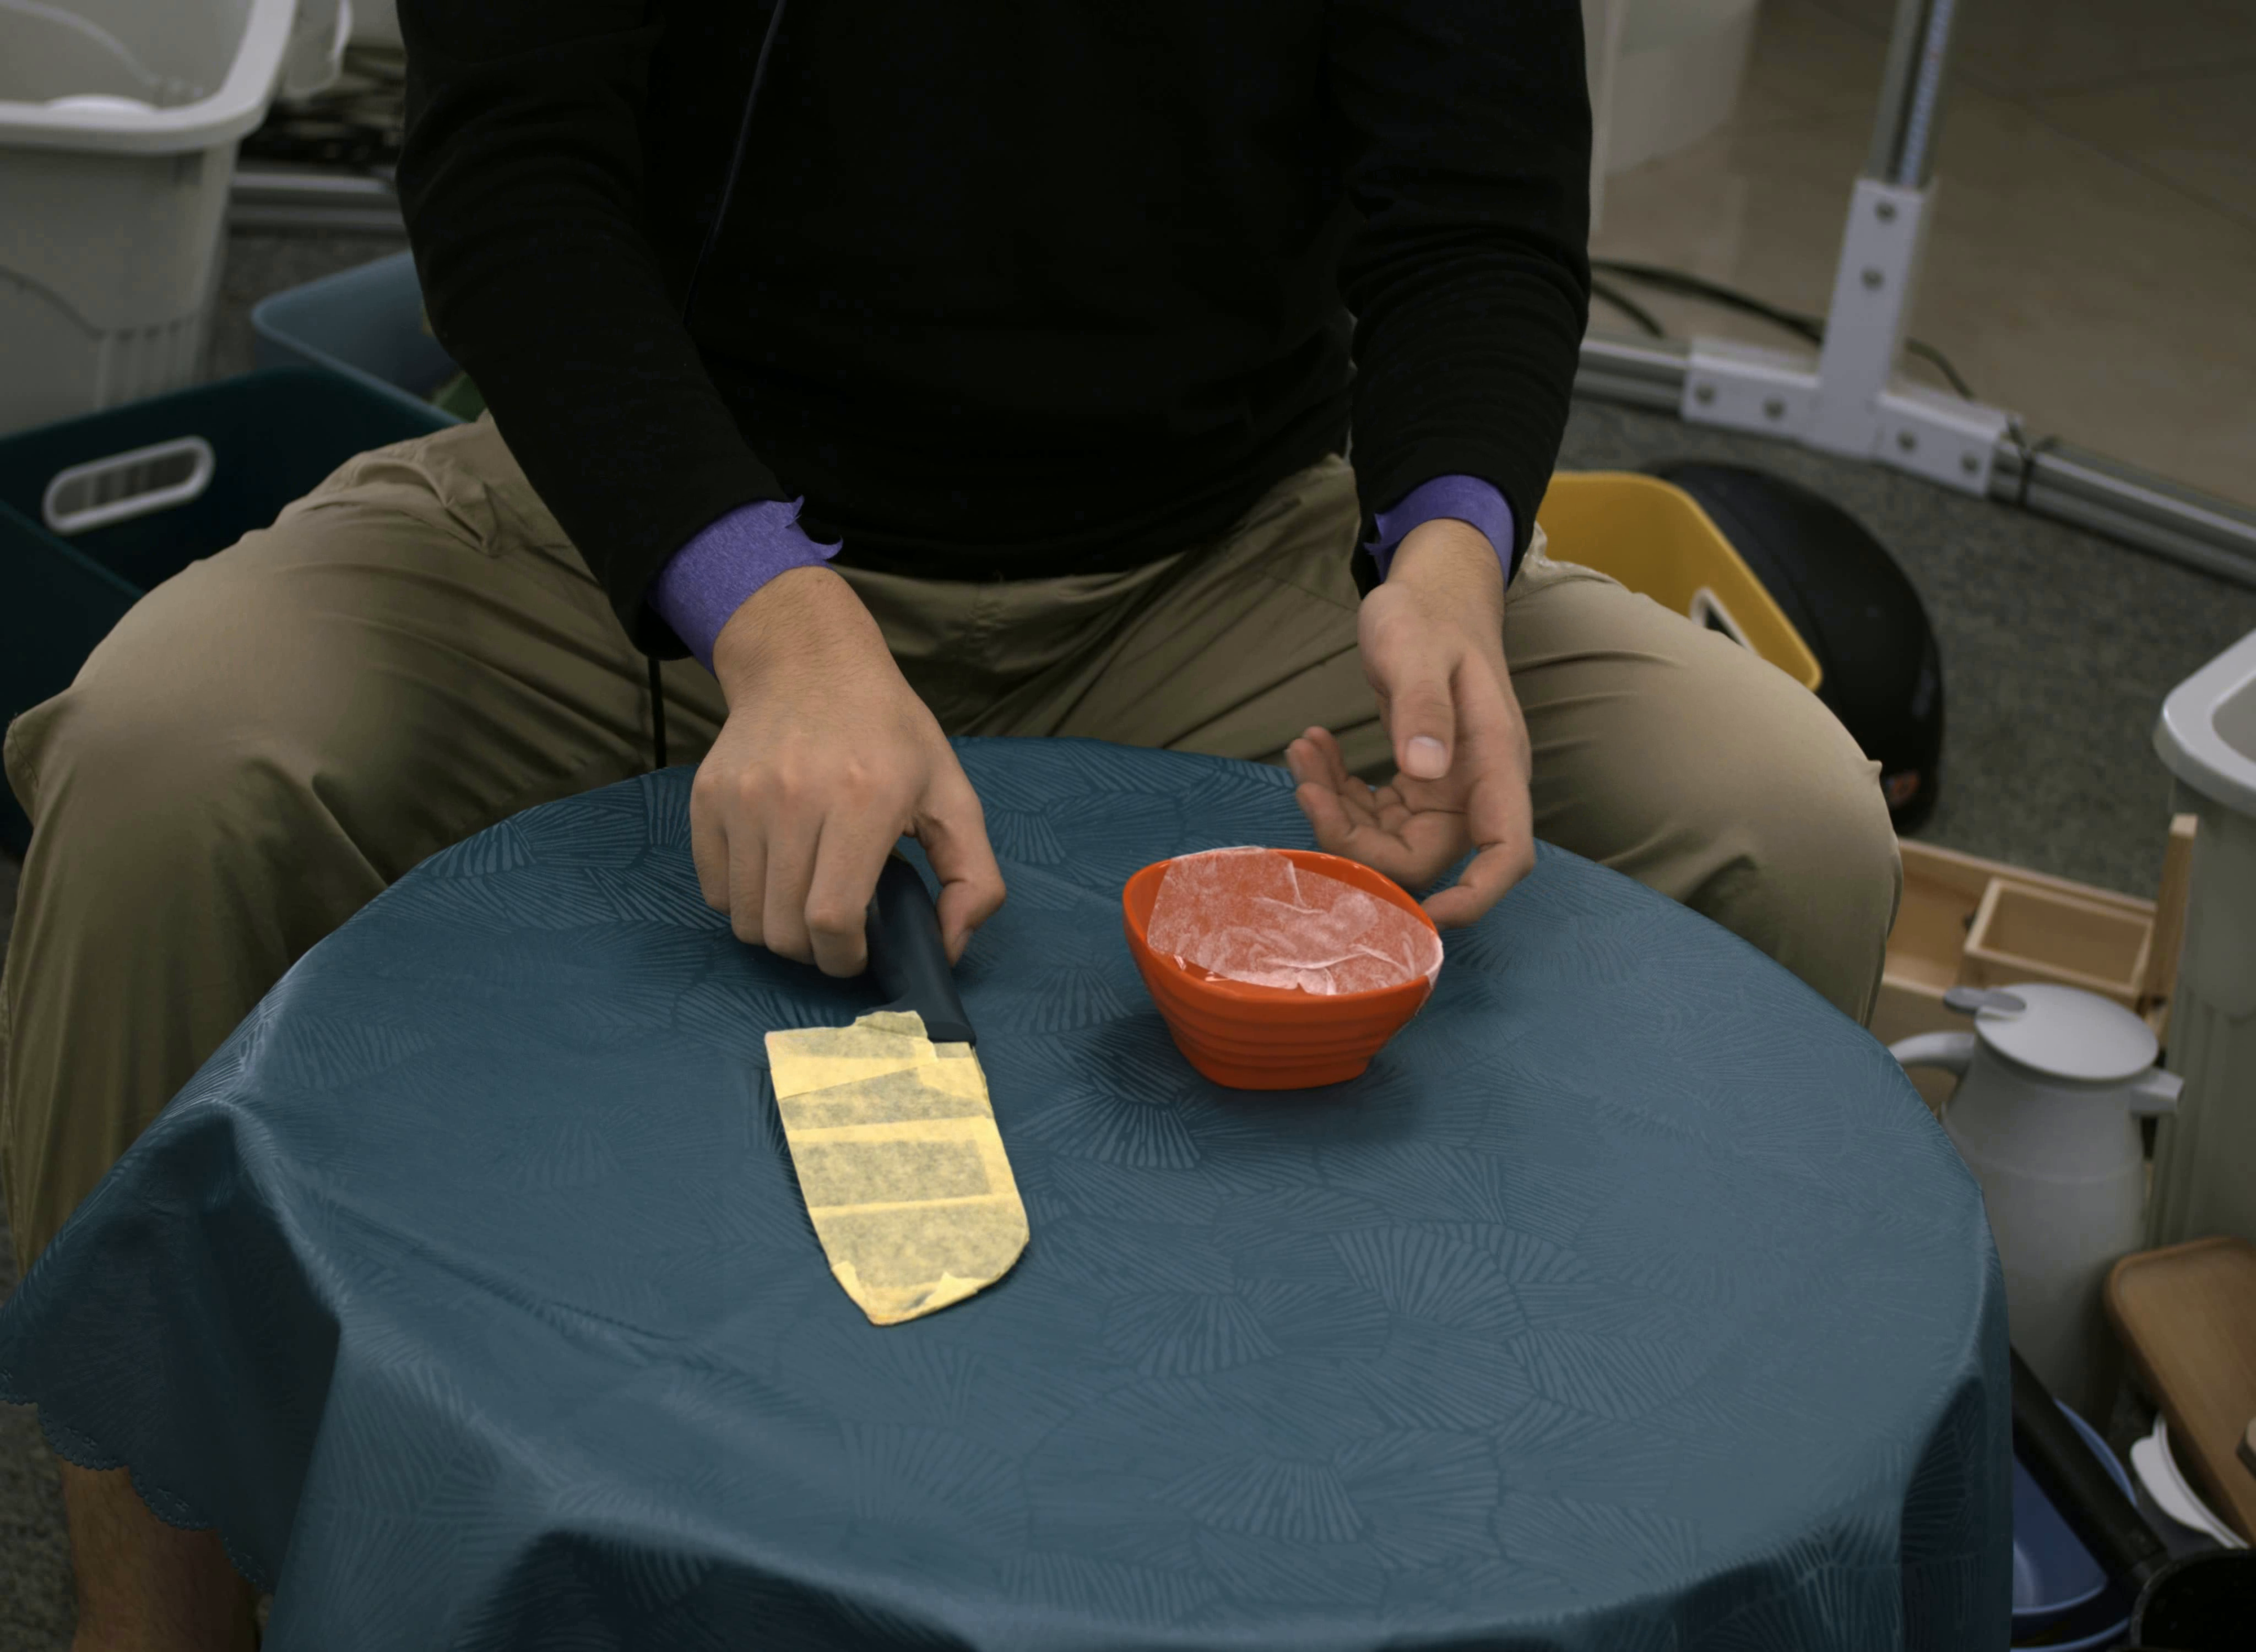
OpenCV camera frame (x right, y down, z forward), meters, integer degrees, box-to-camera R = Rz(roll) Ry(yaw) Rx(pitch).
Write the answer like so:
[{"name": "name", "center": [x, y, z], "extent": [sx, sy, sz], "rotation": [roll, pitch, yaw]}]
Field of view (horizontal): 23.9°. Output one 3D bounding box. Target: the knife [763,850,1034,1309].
[{"name": "knife", "center": [-0.085, 0.086, 1.843], "extent": [0.080, 0.027, 0.292], "rotation": [1, 29, -10]}]

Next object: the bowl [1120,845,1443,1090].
[{"name": "bowl", "center": [0.052, 0.055, 1.895], "extent": [0.118, 0.051, 0.119], "rotation": [4, 28, -3]}]
